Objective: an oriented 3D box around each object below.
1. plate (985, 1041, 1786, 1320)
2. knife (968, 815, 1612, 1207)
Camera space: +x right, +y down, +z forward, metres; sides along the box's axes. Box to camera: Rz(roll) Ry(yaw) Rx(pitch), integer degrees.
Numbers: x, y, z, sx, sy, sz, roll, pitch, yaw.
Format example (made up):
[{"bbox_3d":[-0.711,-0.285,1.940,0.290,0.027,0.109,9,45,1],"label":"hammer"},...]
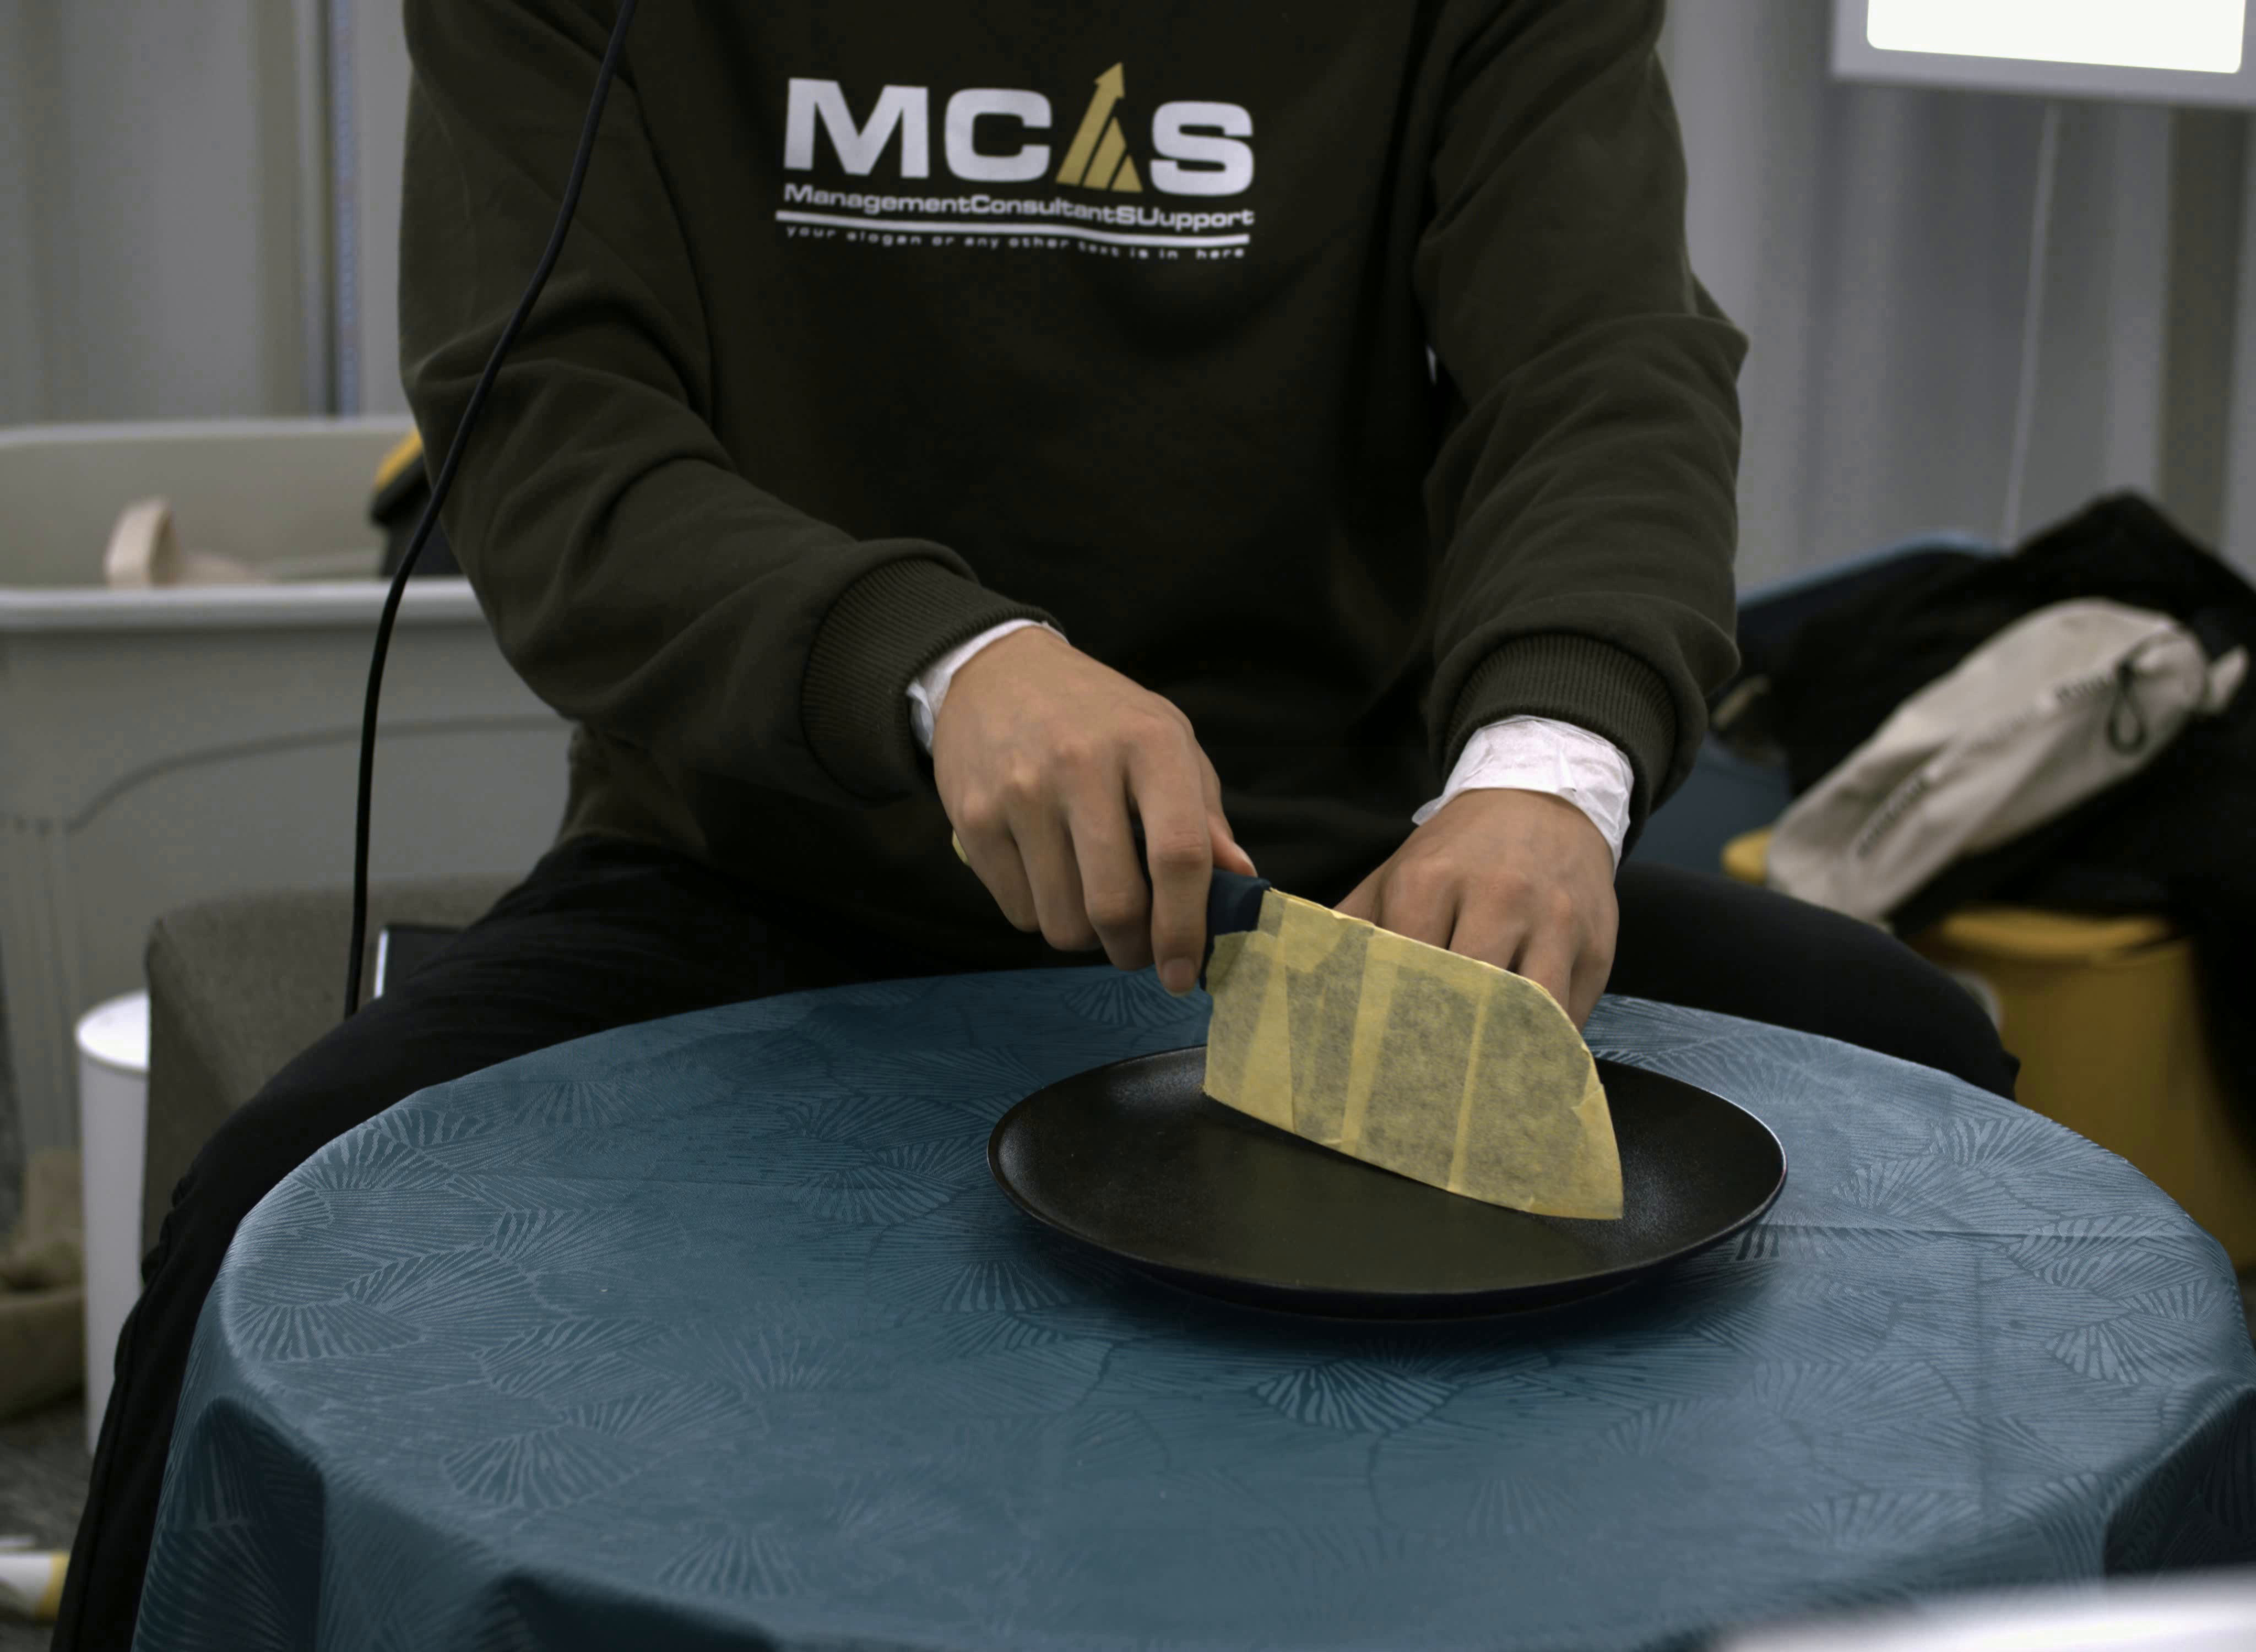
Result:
[{"bbox_3d":[0.077,0.108,1.598,0.243,0.023,0.243,1,15,0],"label":"plate"},{"bbox_3d":[0.047,0.054,1.648,0.027,0.081,0.285,0,17,-45],"label":"knife"}]
